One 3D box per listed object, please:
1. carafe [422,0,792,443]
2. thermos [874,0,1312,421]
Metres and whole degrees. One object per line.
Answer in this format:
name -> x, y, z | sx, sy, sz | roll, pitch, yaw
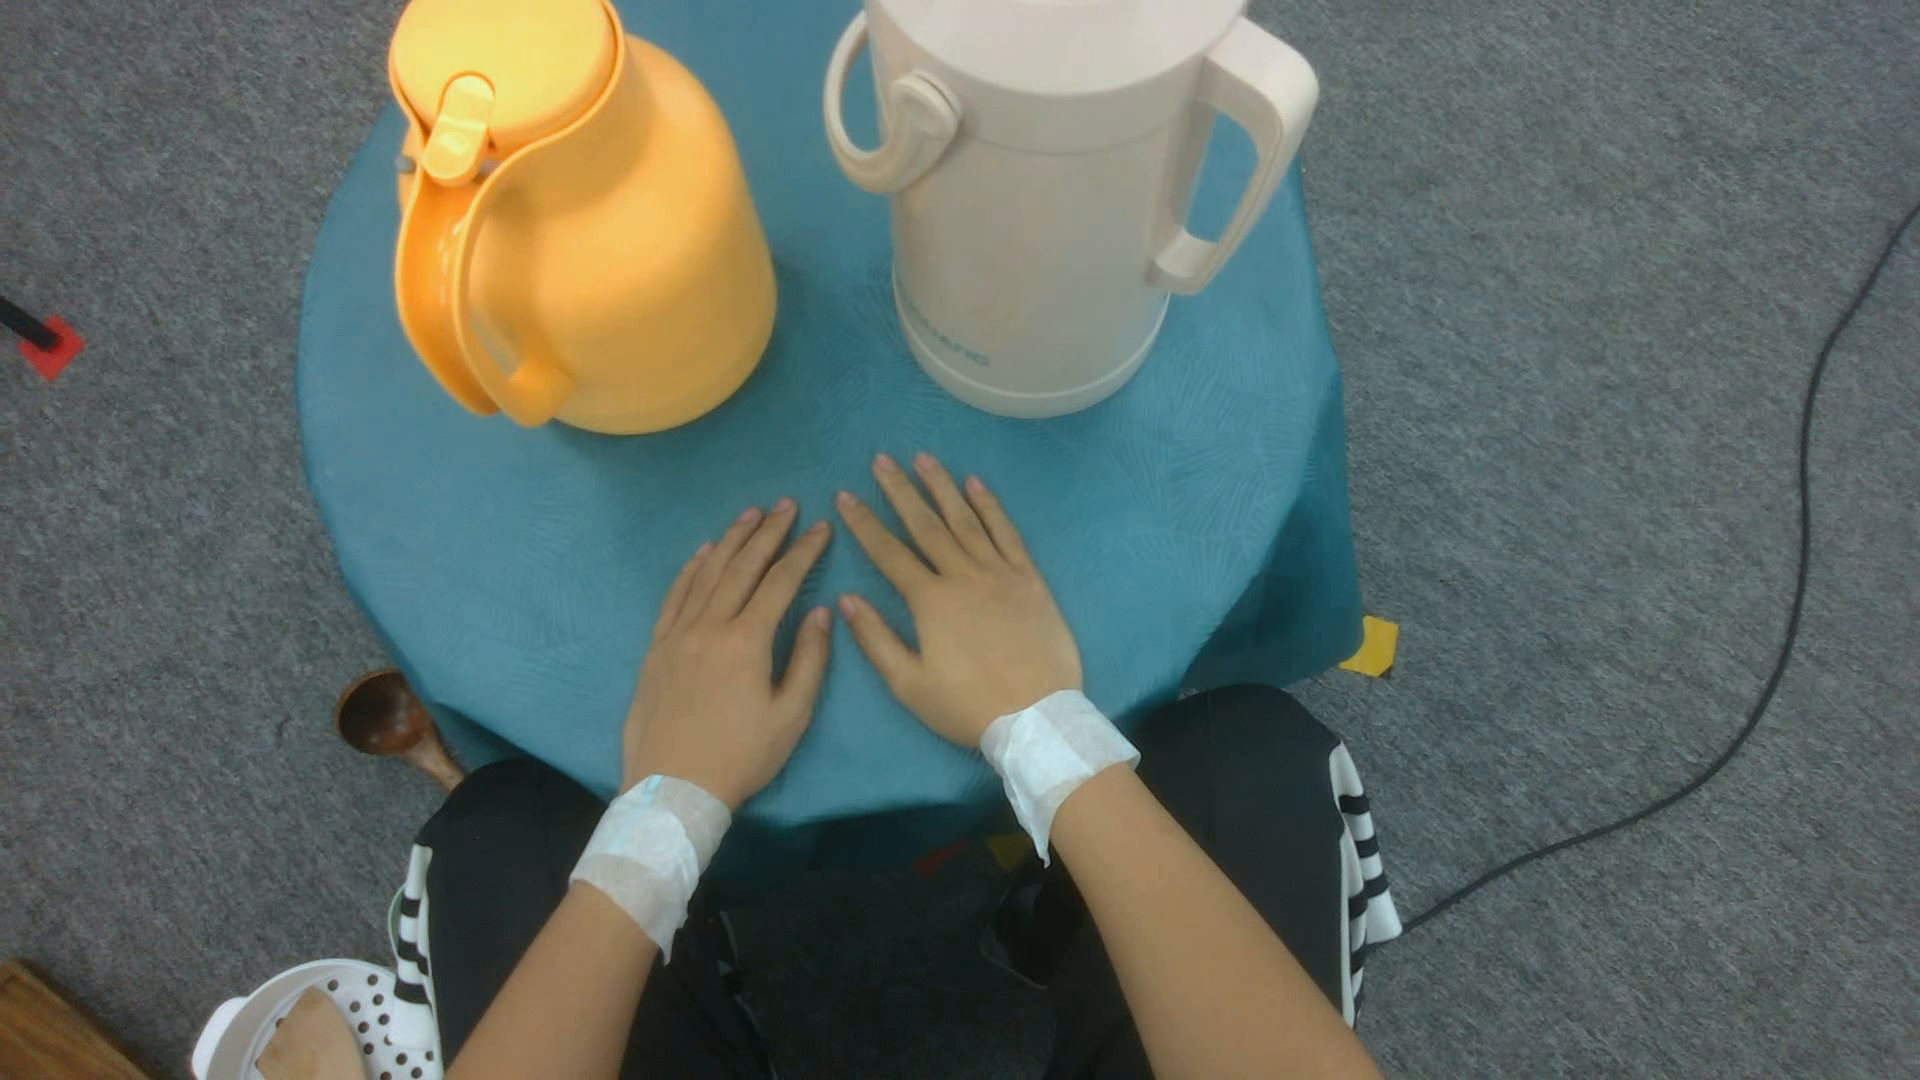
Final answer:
carafe -> -0.187, -0.147, 0.690 | 0.163, 0.259, 0.203 | 15, 71, 8
thermos -> 0.054, -0.195, 0.633 | 0.207, 0.405, 0.176 | 37, 75, 12
